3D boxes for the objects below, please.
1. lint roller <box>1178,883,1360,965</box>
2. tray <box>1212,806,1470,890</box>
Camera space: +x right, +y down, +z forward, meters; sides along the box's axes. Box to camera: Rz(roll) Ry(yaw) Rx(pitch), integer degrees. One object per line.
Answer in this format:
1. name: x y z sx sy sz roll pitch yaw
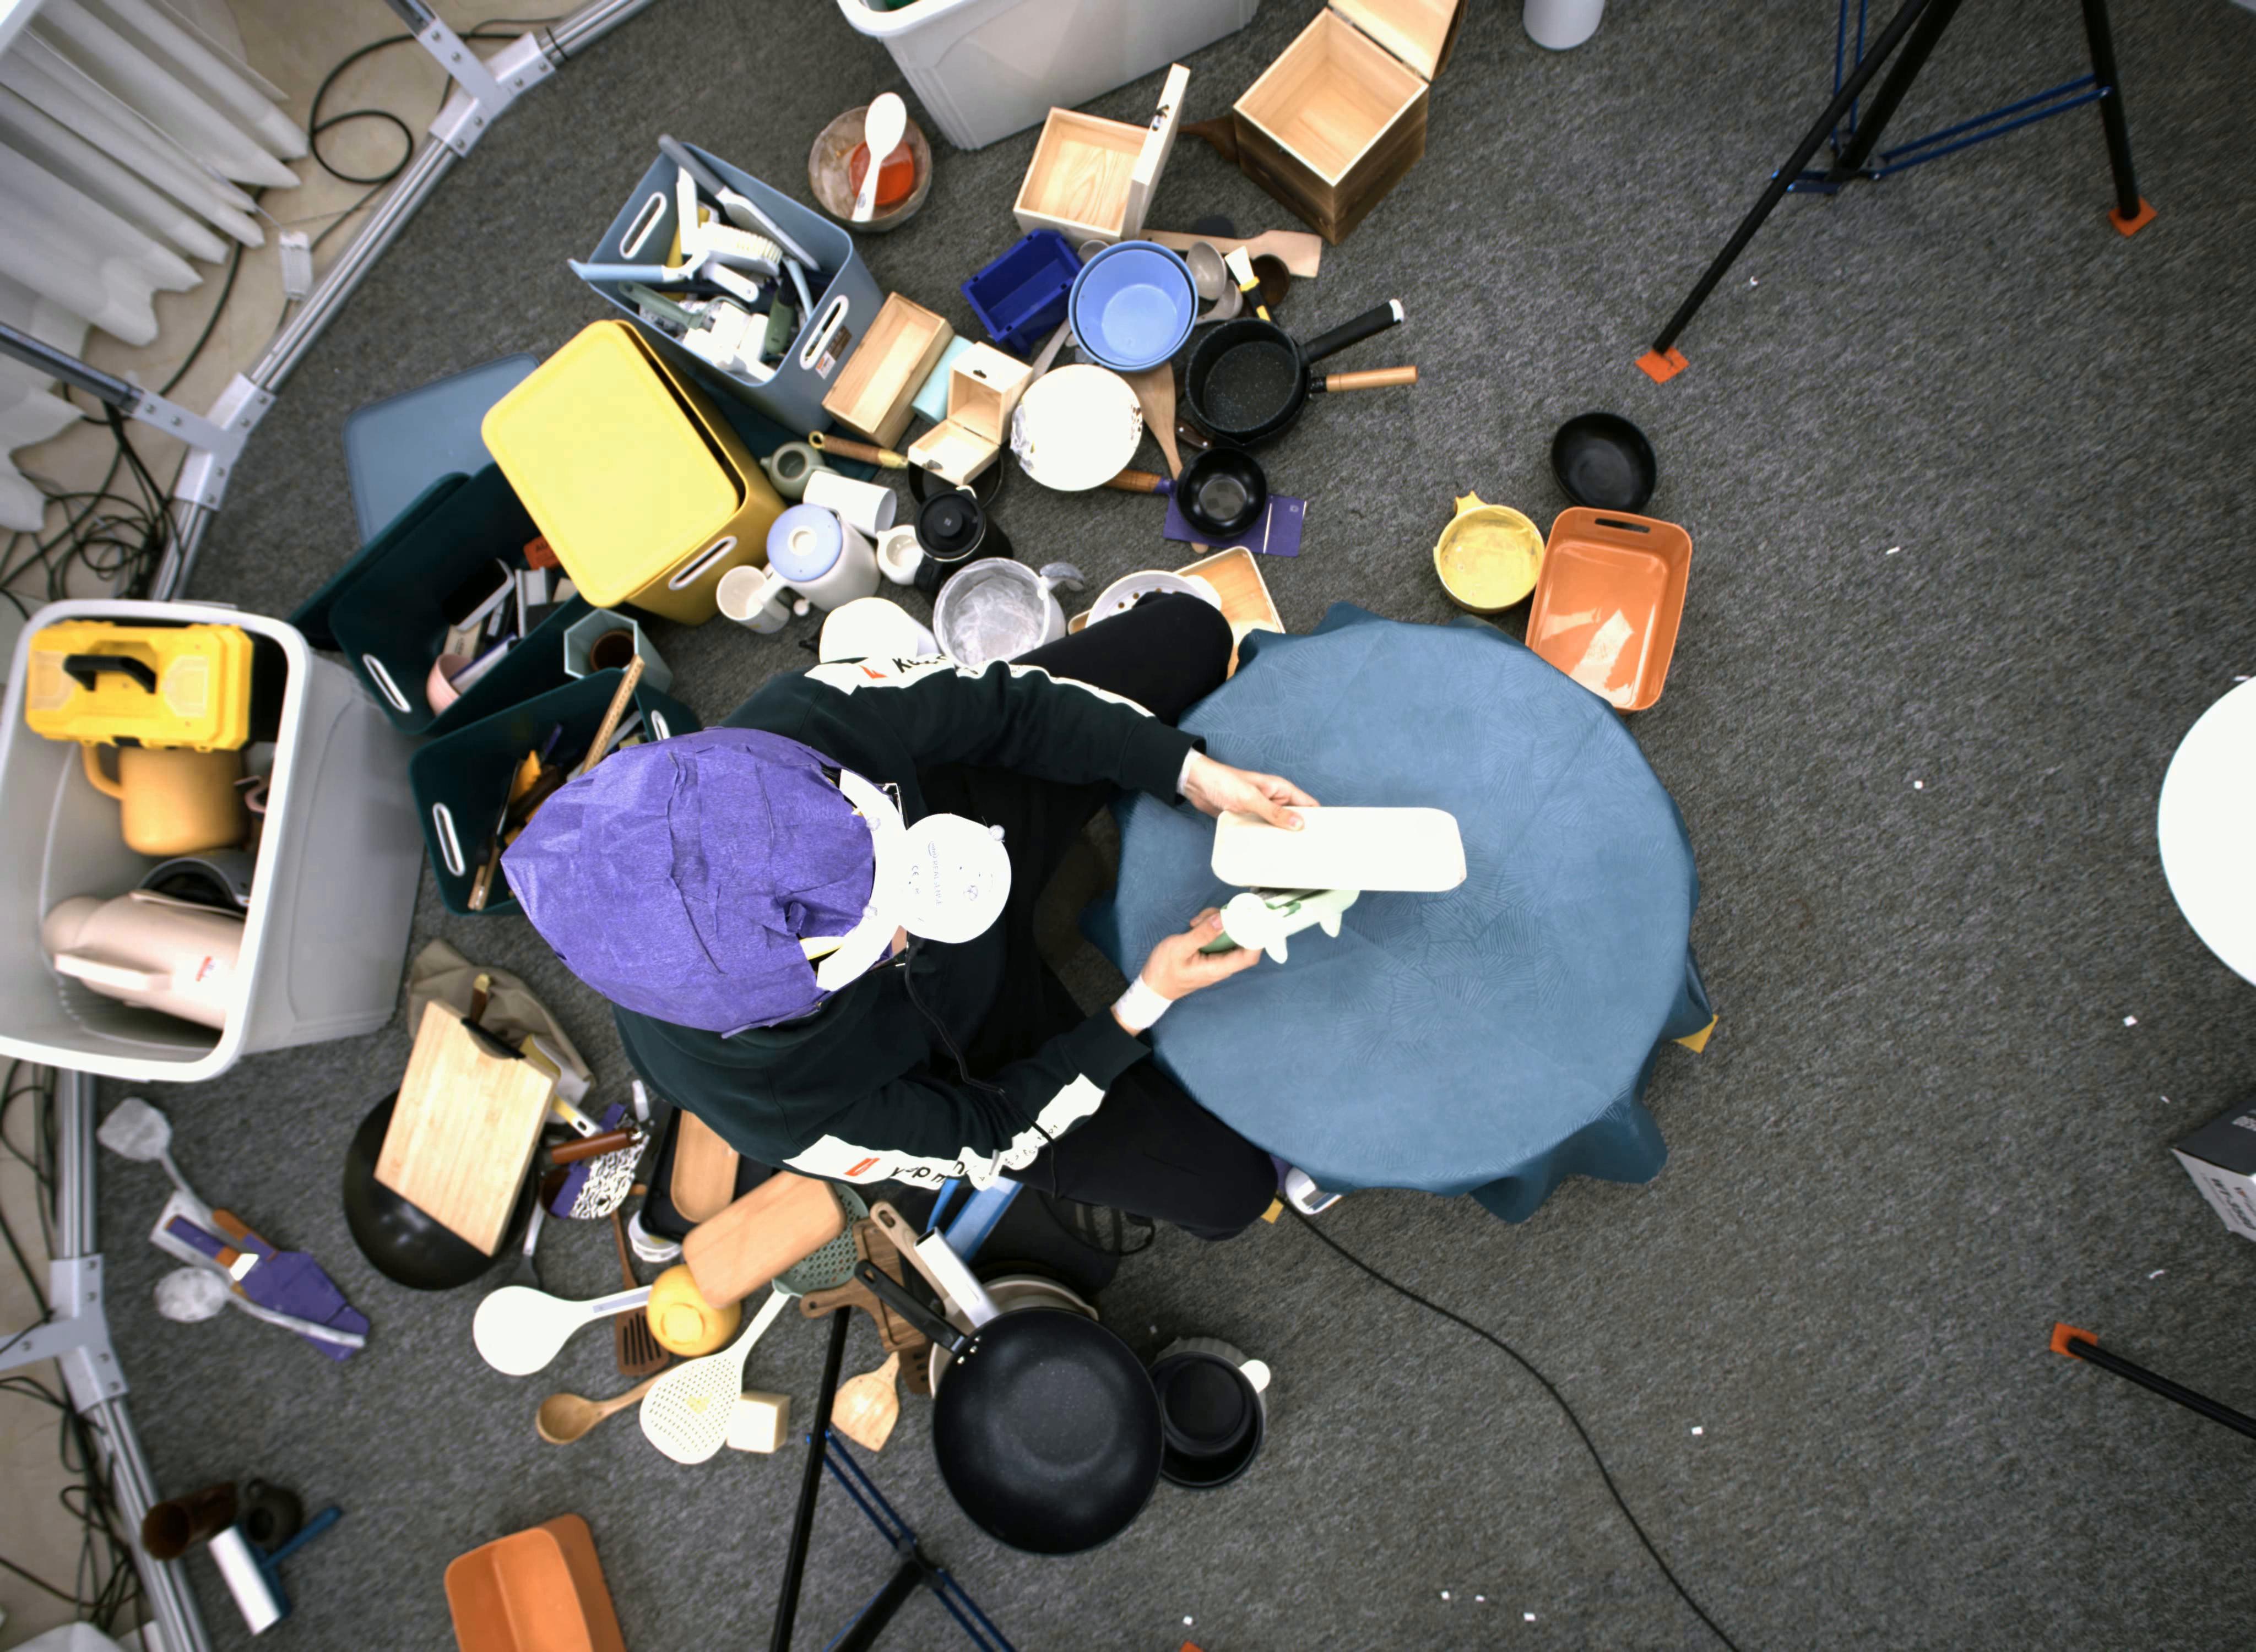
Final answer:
1. lint roller: 0.129 0.108 1.378 0.187 0.196 0.081 -39 77 35
2. tray: 0.203 0.020 1.339 0.240 0.167 0.018 0 114 7
